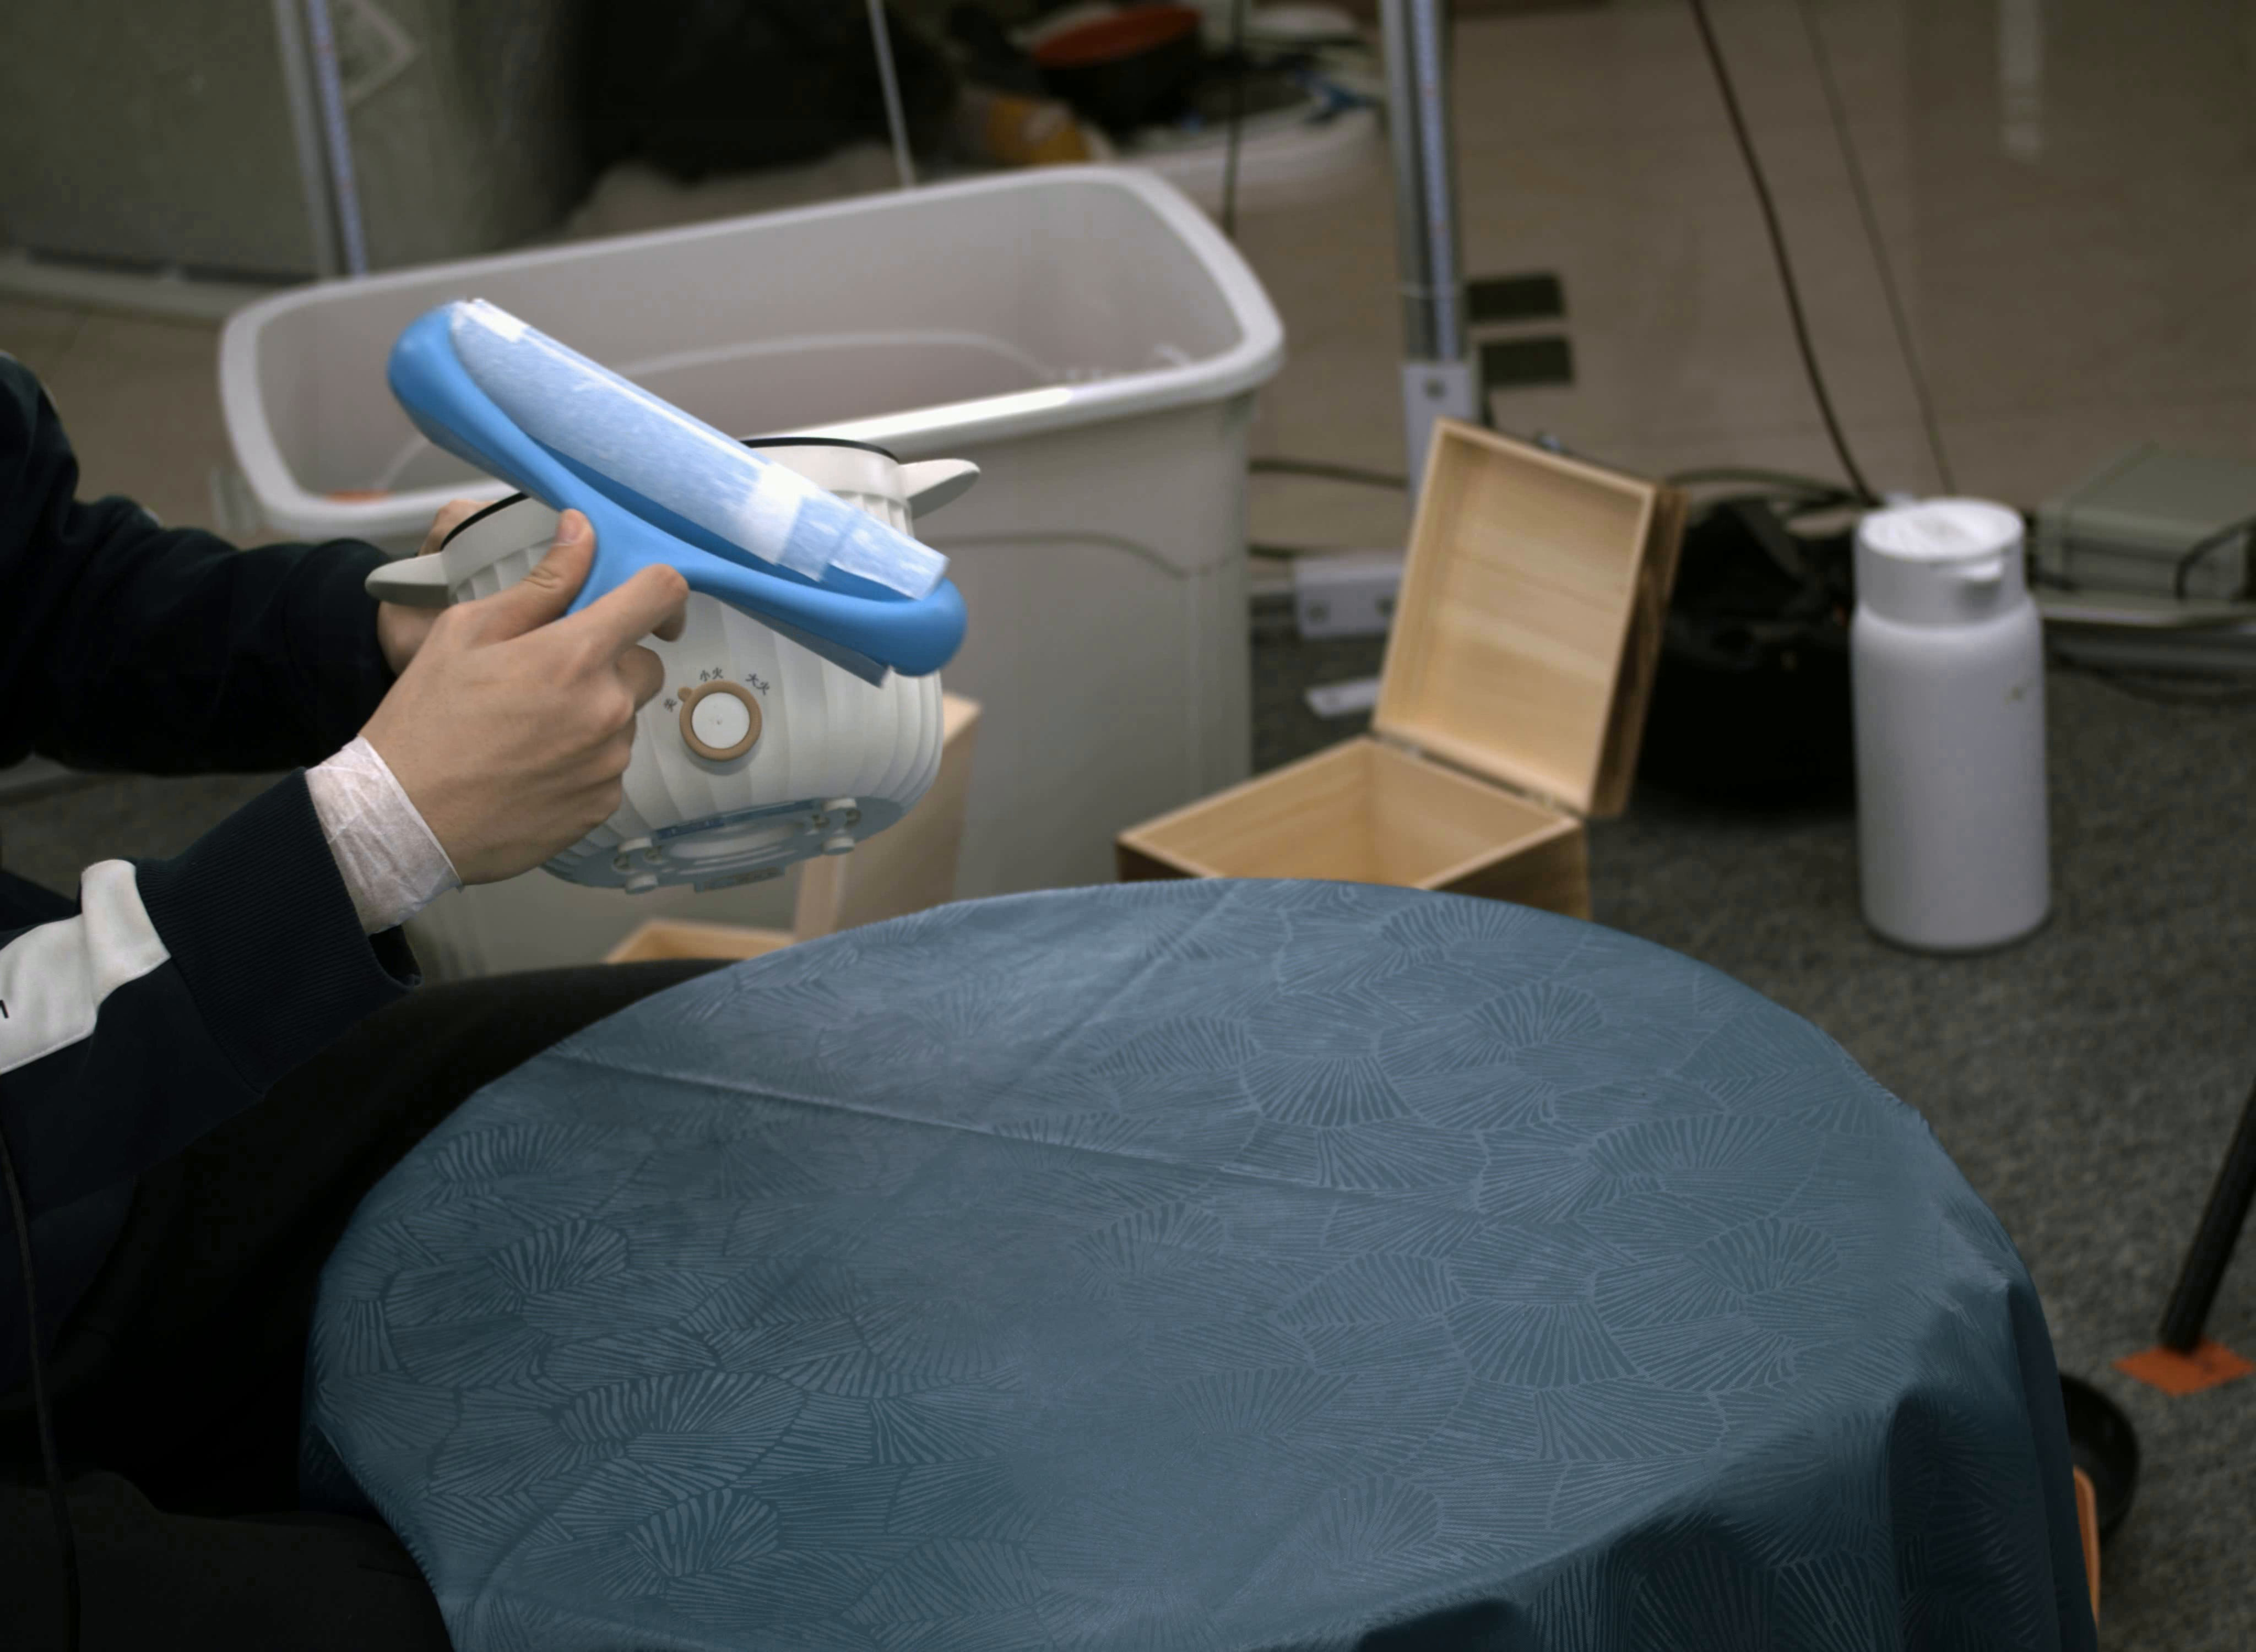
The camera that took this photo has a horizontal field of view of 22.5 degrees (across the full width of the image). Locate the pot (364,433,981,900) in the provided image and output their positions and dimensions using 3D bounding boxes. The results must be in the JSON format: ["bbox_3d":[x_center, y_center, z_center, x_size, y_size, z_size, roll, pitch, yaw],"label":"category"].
[{"bbox_3d":[-0.159,-0.058,2.149,0.240,0.141,0.192,-12,-13,-7],"label":"pot"}]

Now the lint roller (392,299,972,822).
[{"bbox_3d":[-0.176,-0.080,1.985,0.229,0.069,0.177,28,50,-6],"label":"lint roller"}]
